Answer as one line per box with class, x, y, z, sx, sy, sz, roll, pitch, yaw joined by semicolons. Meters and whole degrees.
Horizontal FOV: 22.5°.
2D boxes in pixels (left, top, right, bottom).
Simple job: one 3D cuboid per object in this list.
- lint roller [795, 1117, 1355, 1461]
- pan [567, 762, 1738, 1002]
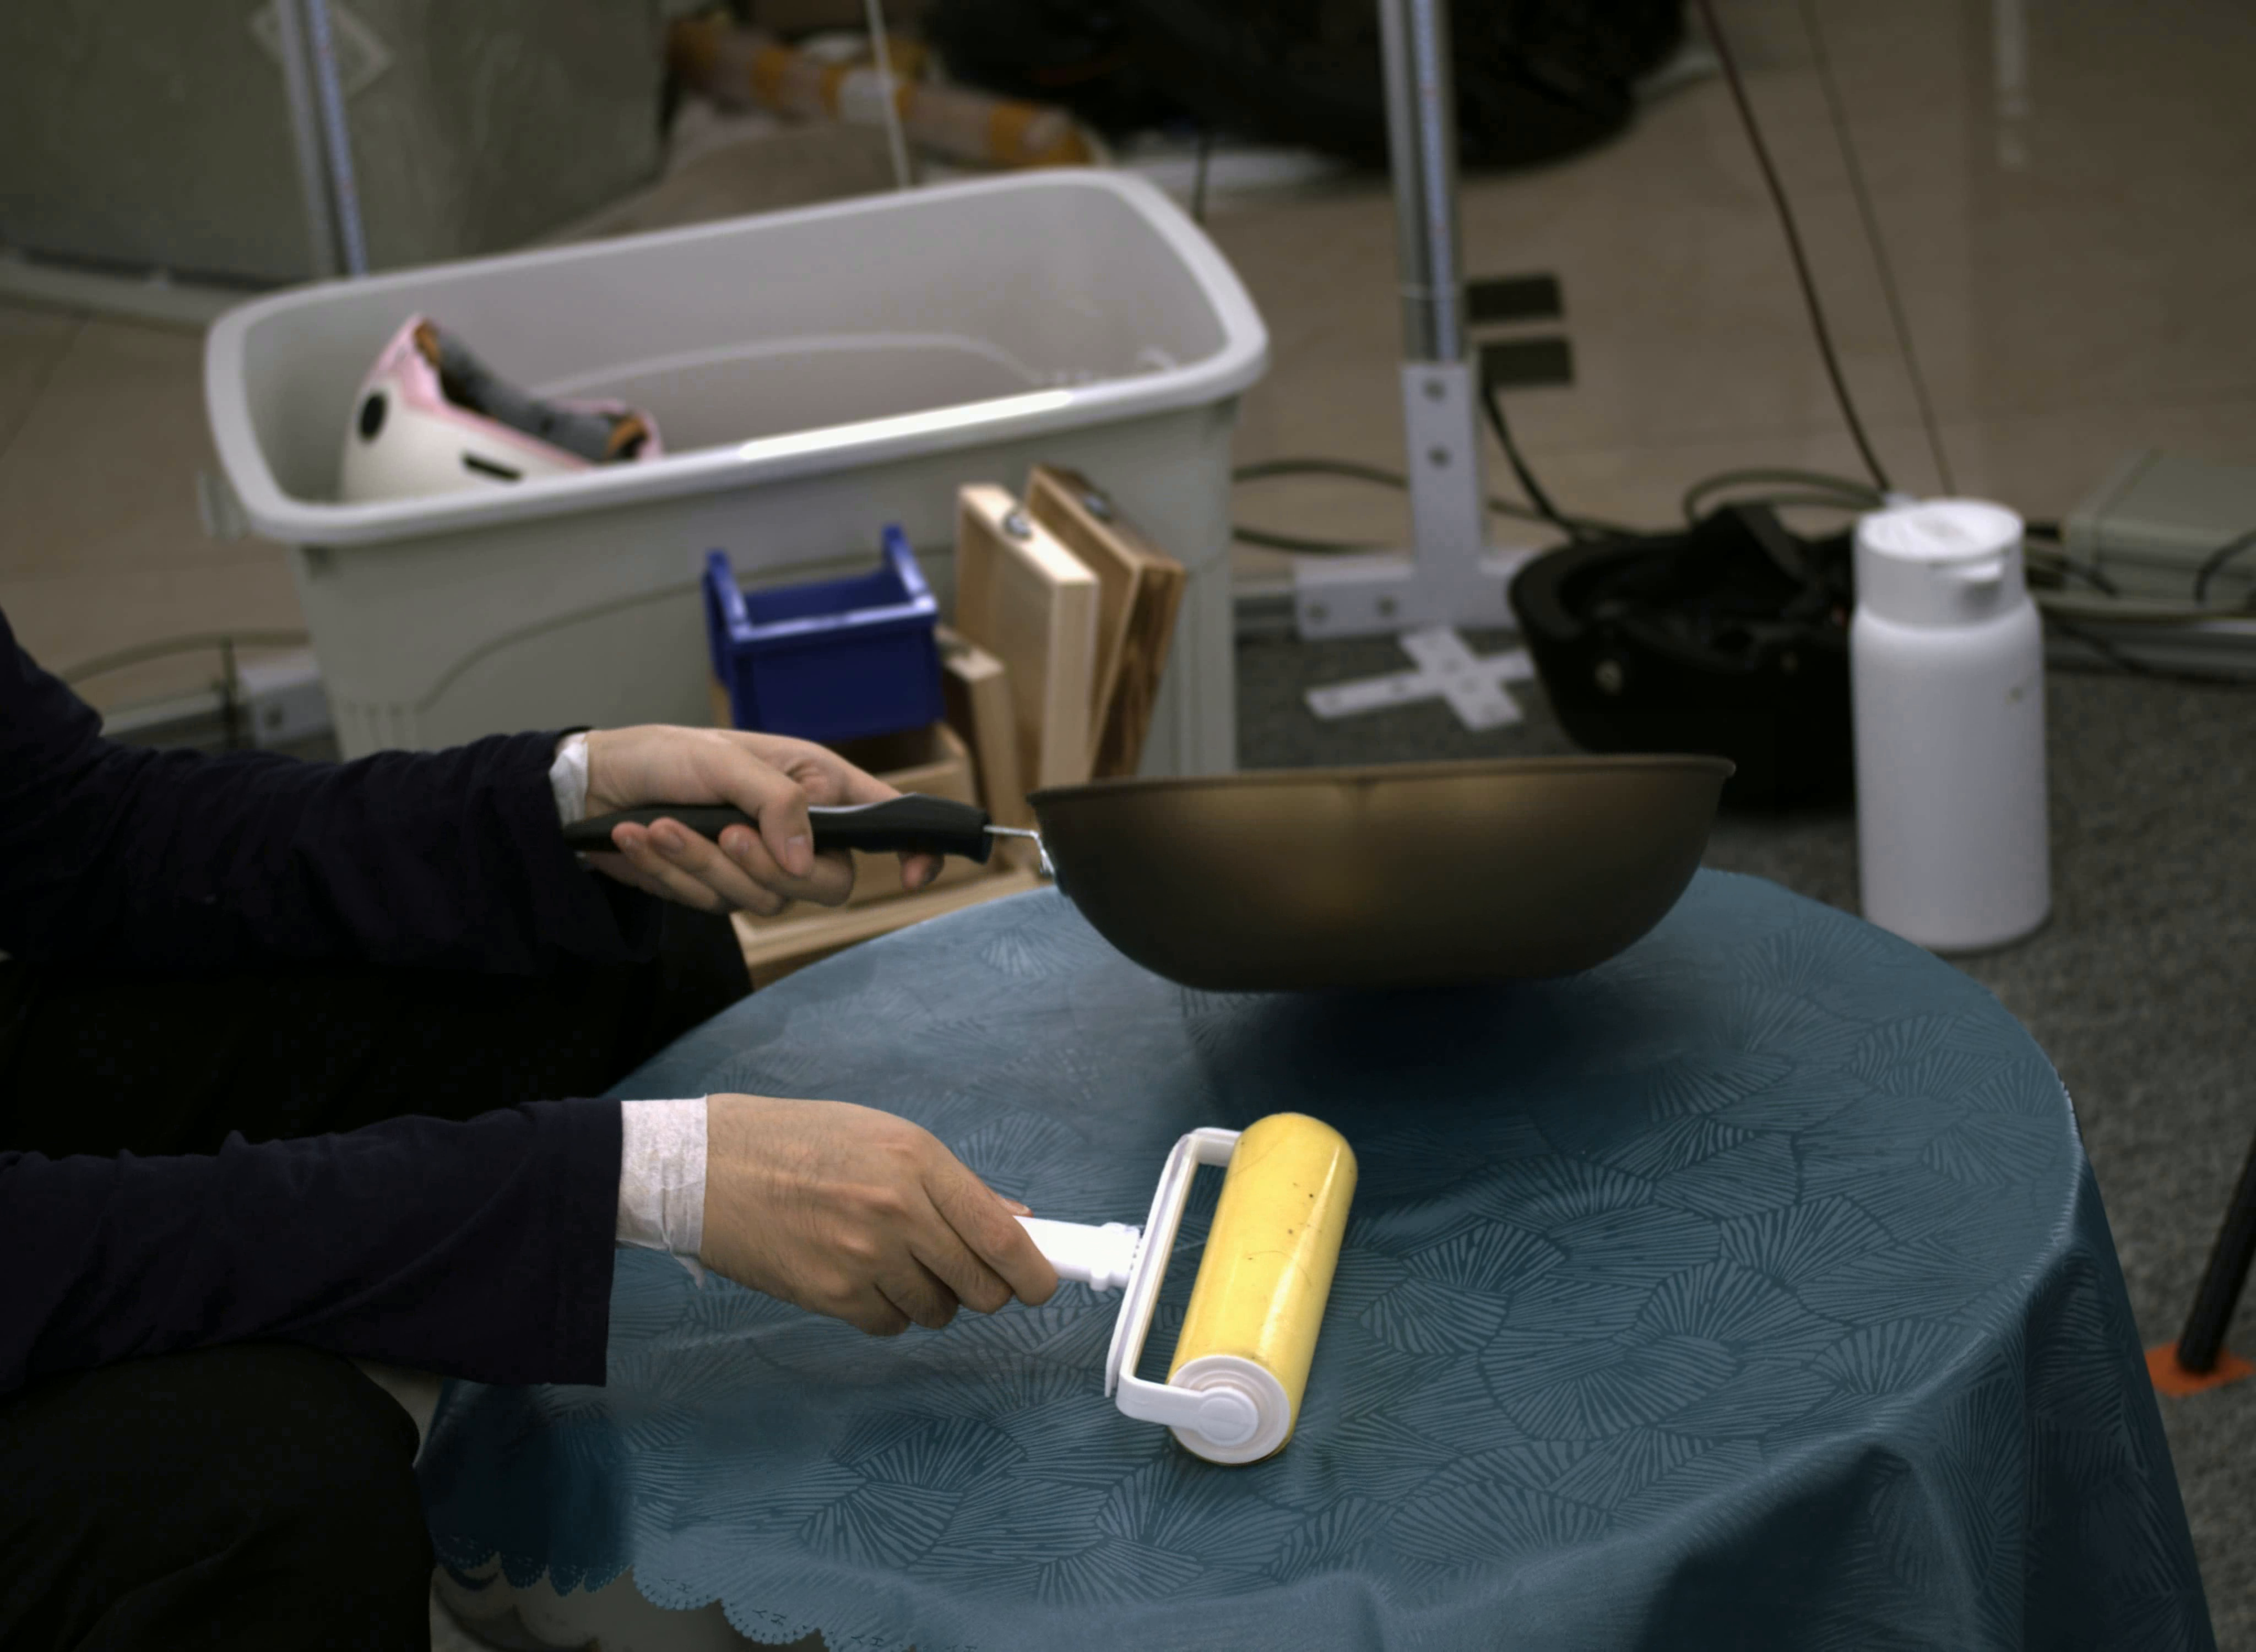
lint roller;-0.022;0.148;2.021;0.191;0.052;0.171;14;30;2
pan;0.008;0.028;2.217;0.462;0.087;0.288;-3;-2;7
